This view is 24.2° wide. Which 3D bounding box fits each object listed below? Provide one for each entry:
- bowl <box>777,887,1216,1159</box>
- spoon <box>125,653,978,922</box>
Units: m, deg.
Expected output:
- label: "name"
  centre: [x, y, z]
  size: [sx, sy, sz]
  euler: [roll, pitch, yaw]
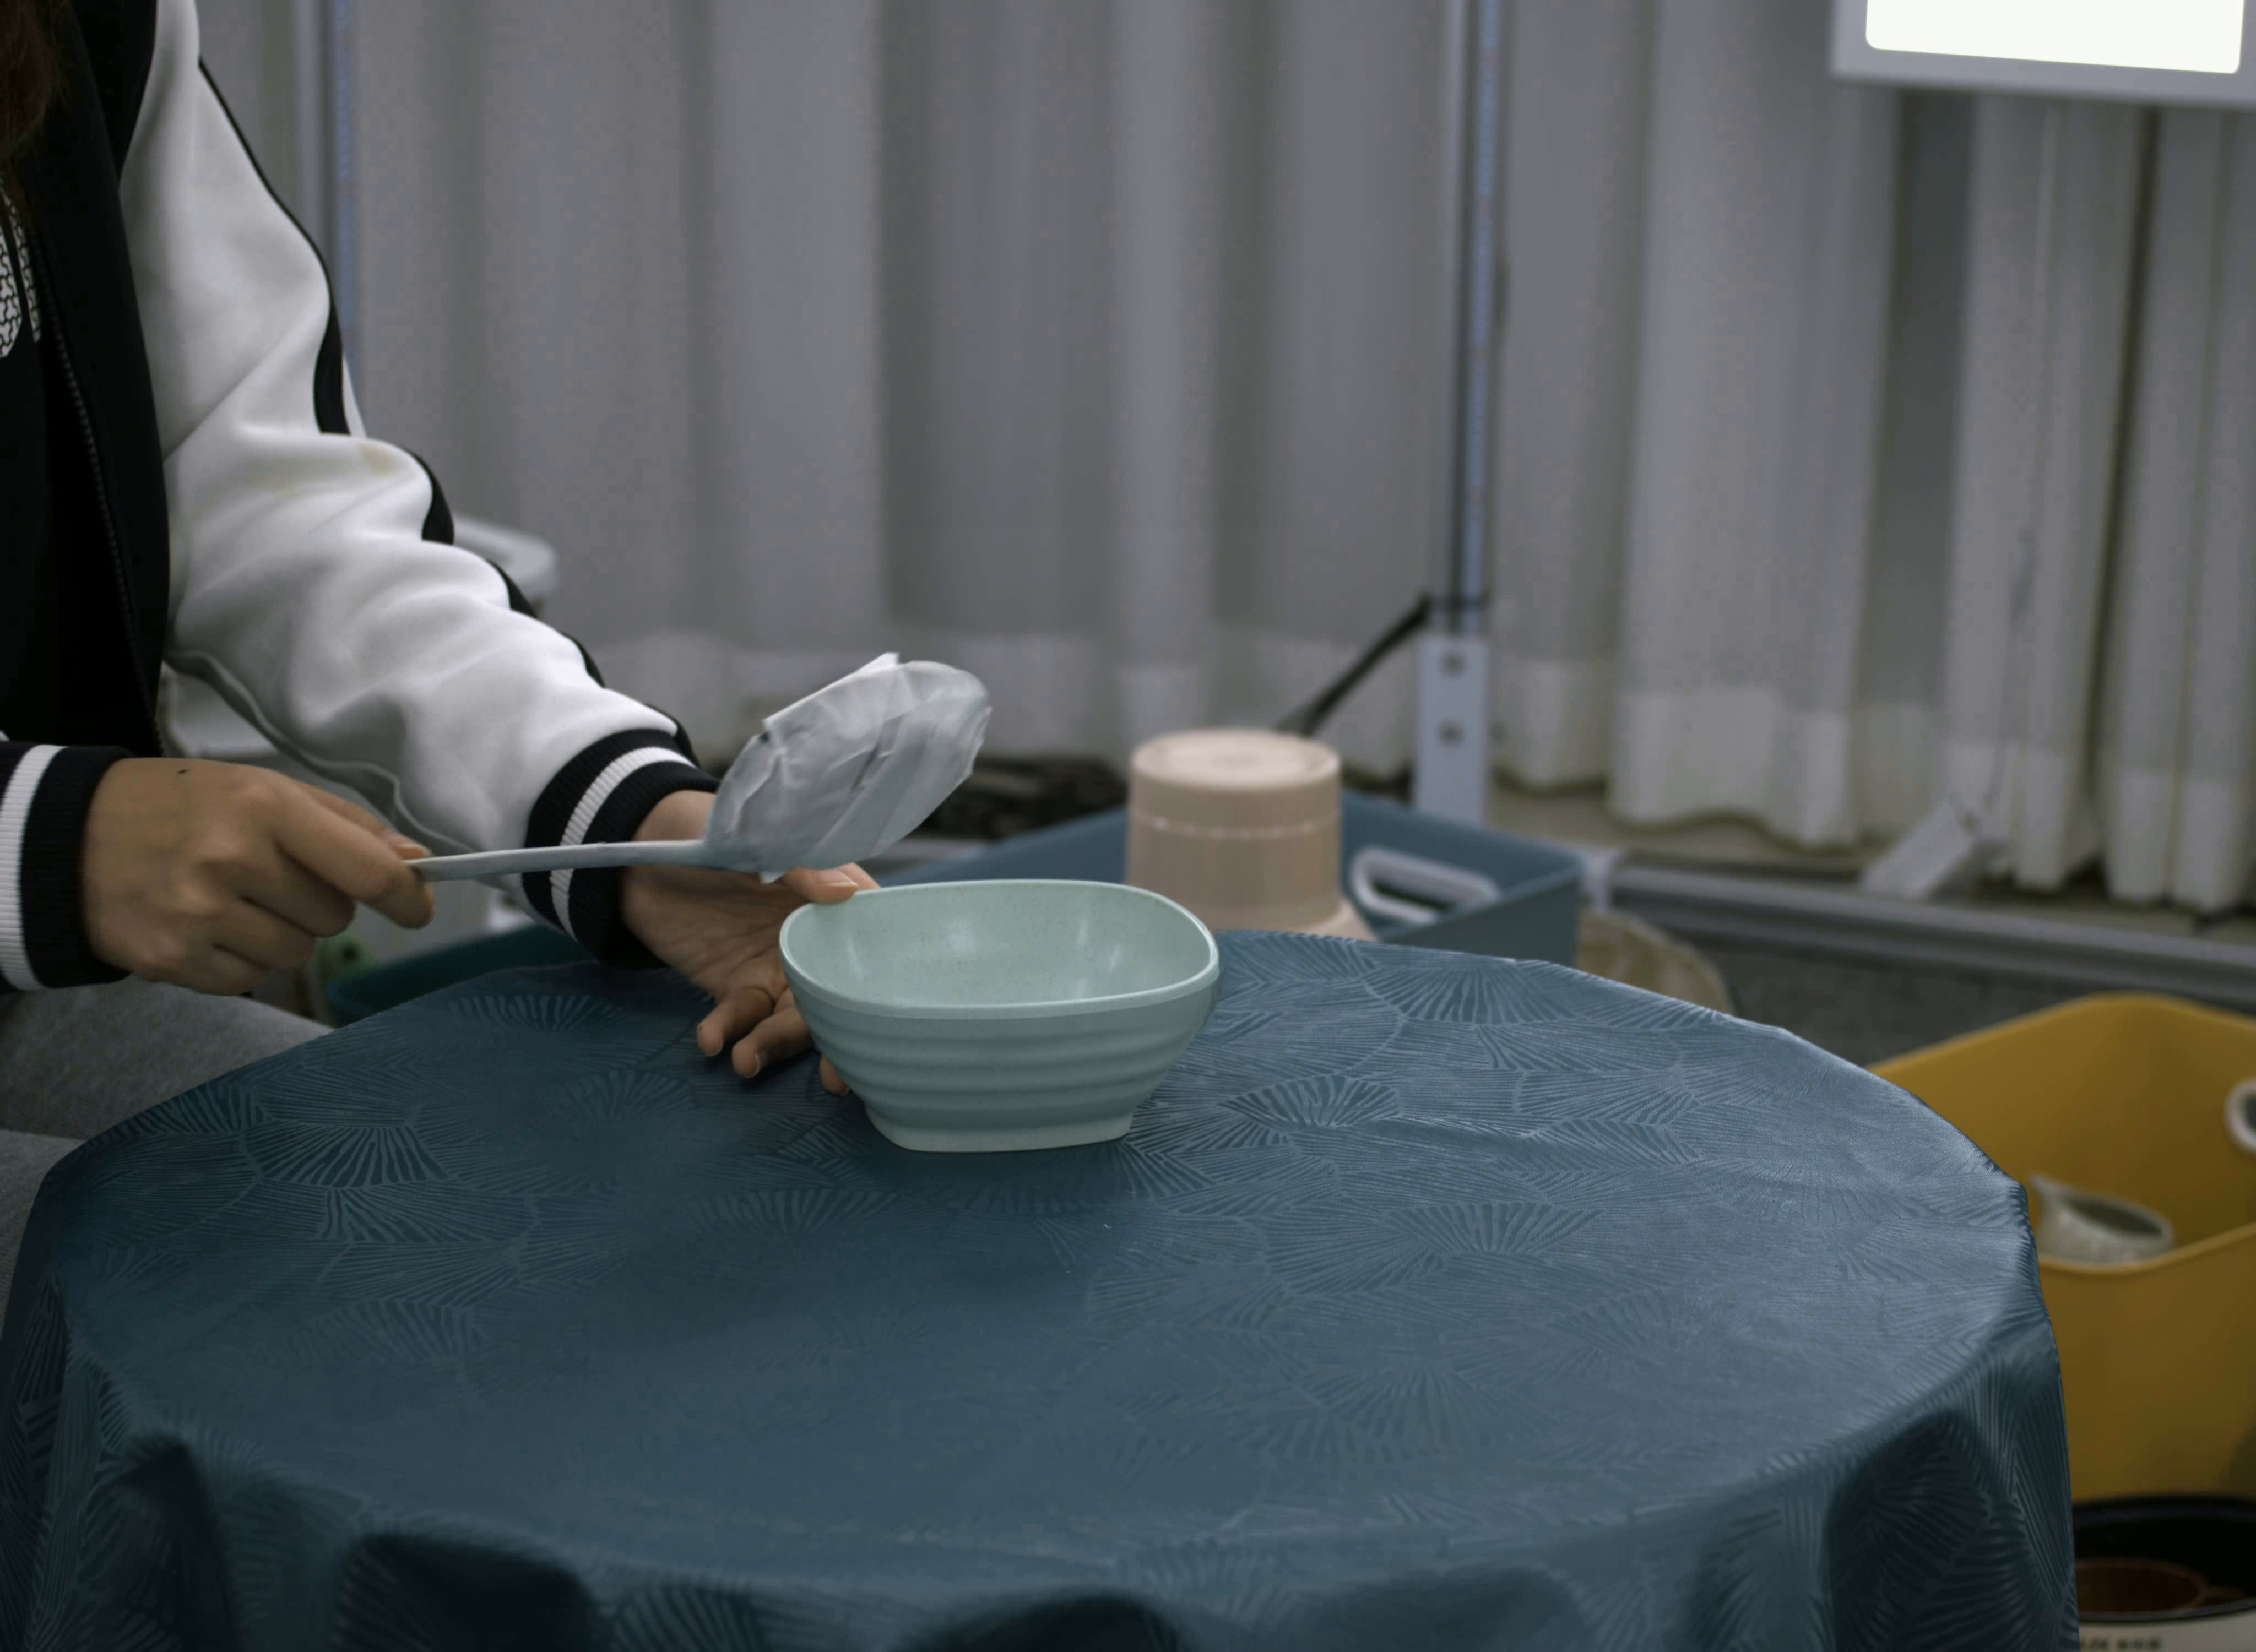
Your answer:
- label: "bowl"
  centre: [-0.042, 0.066, 1.687]
  size: [0.151, 0.059, 0.150]
  euler: [1, 15, 0]
- label: "spoon"
  centre: [-0.179, -0.007, 1.611]
  size: [0.275, 0.059, 0.102]
  euler: [-5, -30, 19]
